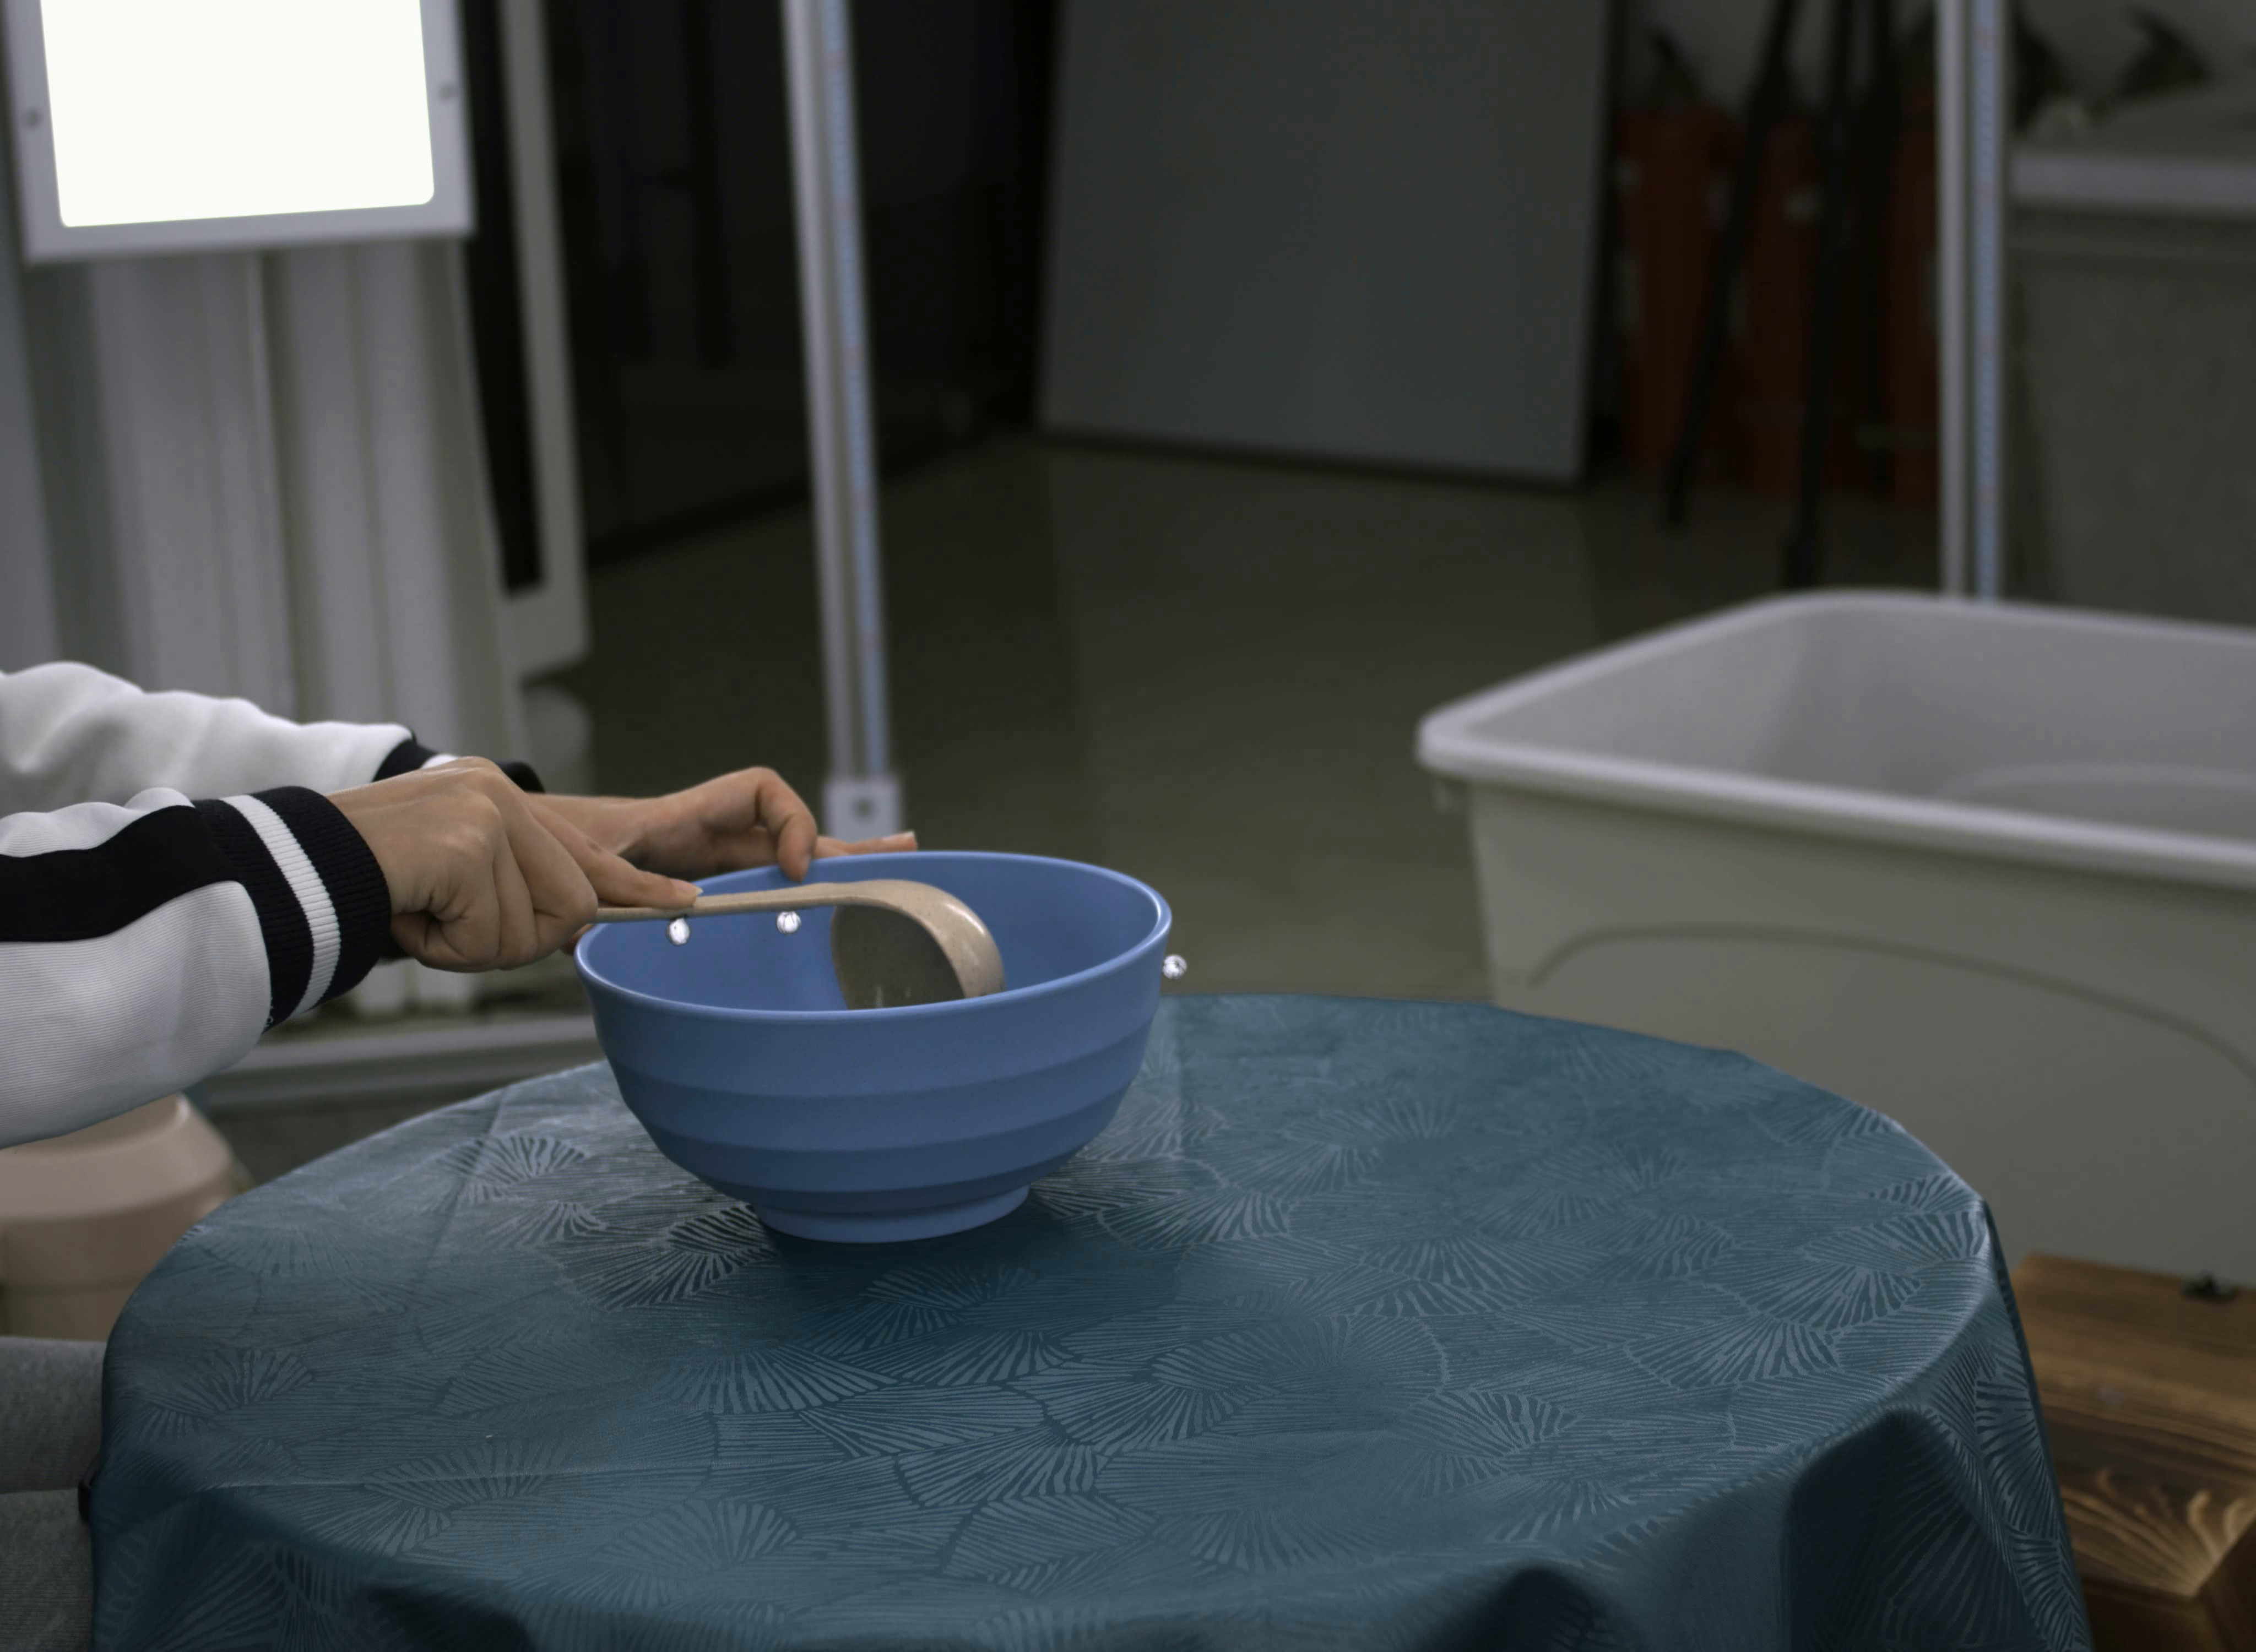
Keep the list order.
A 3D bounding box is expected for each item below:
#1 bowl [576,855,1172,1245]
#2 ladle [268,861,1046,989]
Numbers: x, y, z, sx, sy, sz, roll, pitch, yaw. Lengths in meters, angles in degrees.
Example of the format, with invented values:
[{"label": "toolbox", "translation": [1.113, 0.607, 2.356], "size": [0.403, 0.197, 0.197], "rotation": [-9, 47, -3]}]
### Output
[{"label": "bowl", "translation": [-0.081, 0.078, 1.767], "size": [0.194, 0.096, 0.197], "rotation": [-2, 13, -1]}, {"label": "ladle", "translation": [-0.144, 0.050, 1.697], "size": [0.248, 0.073, 0.074], "rotation": [4, 52, -27]}]
